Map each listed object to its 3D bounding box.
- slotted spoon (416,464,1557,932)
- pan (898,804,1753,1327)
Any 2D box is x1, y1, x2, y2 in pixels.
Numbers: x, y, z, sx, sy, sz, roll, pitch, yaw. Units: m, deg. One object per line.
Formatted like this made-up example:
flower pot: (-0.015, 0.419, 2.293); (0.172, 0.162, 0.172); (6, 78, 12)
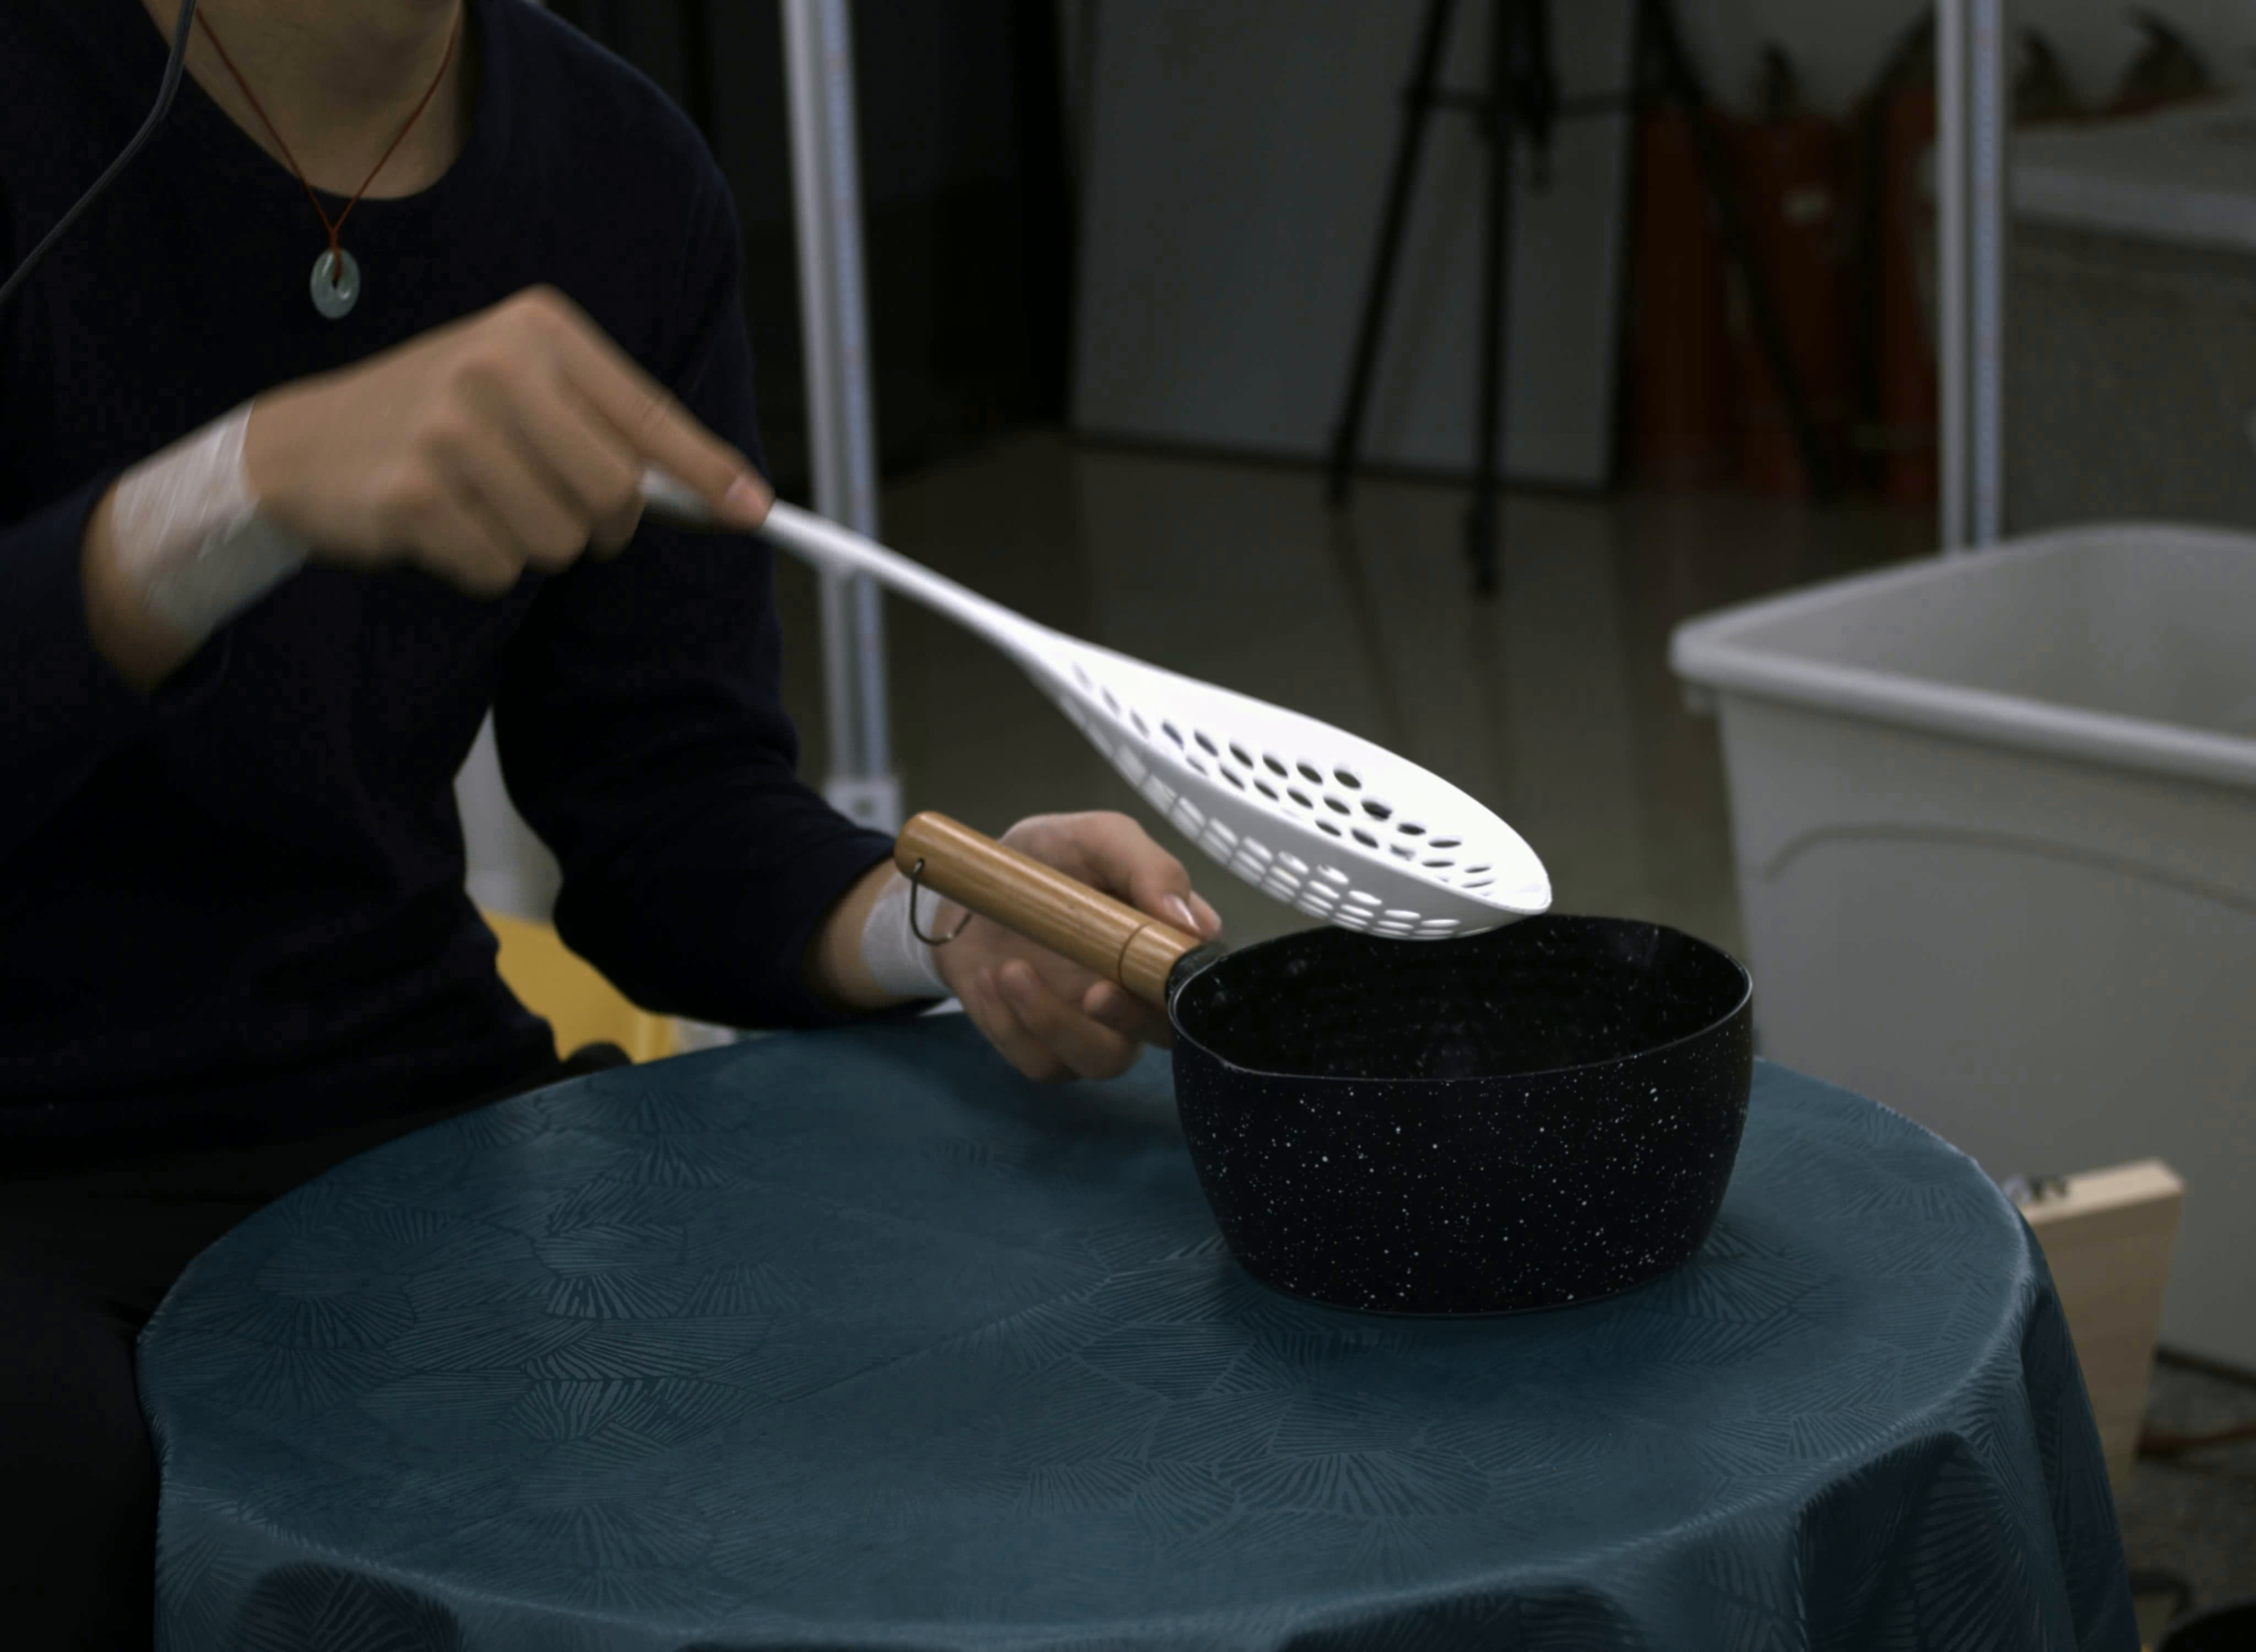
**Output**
slotted spoon: (-0.039, -0.046, 1.556); (0.345, 0.051, 0.136); (27, 14, -1)
pan: (0.048, 0.070, 1.739); (0.346, 0.109, 0.203); (11, 21, 43)
